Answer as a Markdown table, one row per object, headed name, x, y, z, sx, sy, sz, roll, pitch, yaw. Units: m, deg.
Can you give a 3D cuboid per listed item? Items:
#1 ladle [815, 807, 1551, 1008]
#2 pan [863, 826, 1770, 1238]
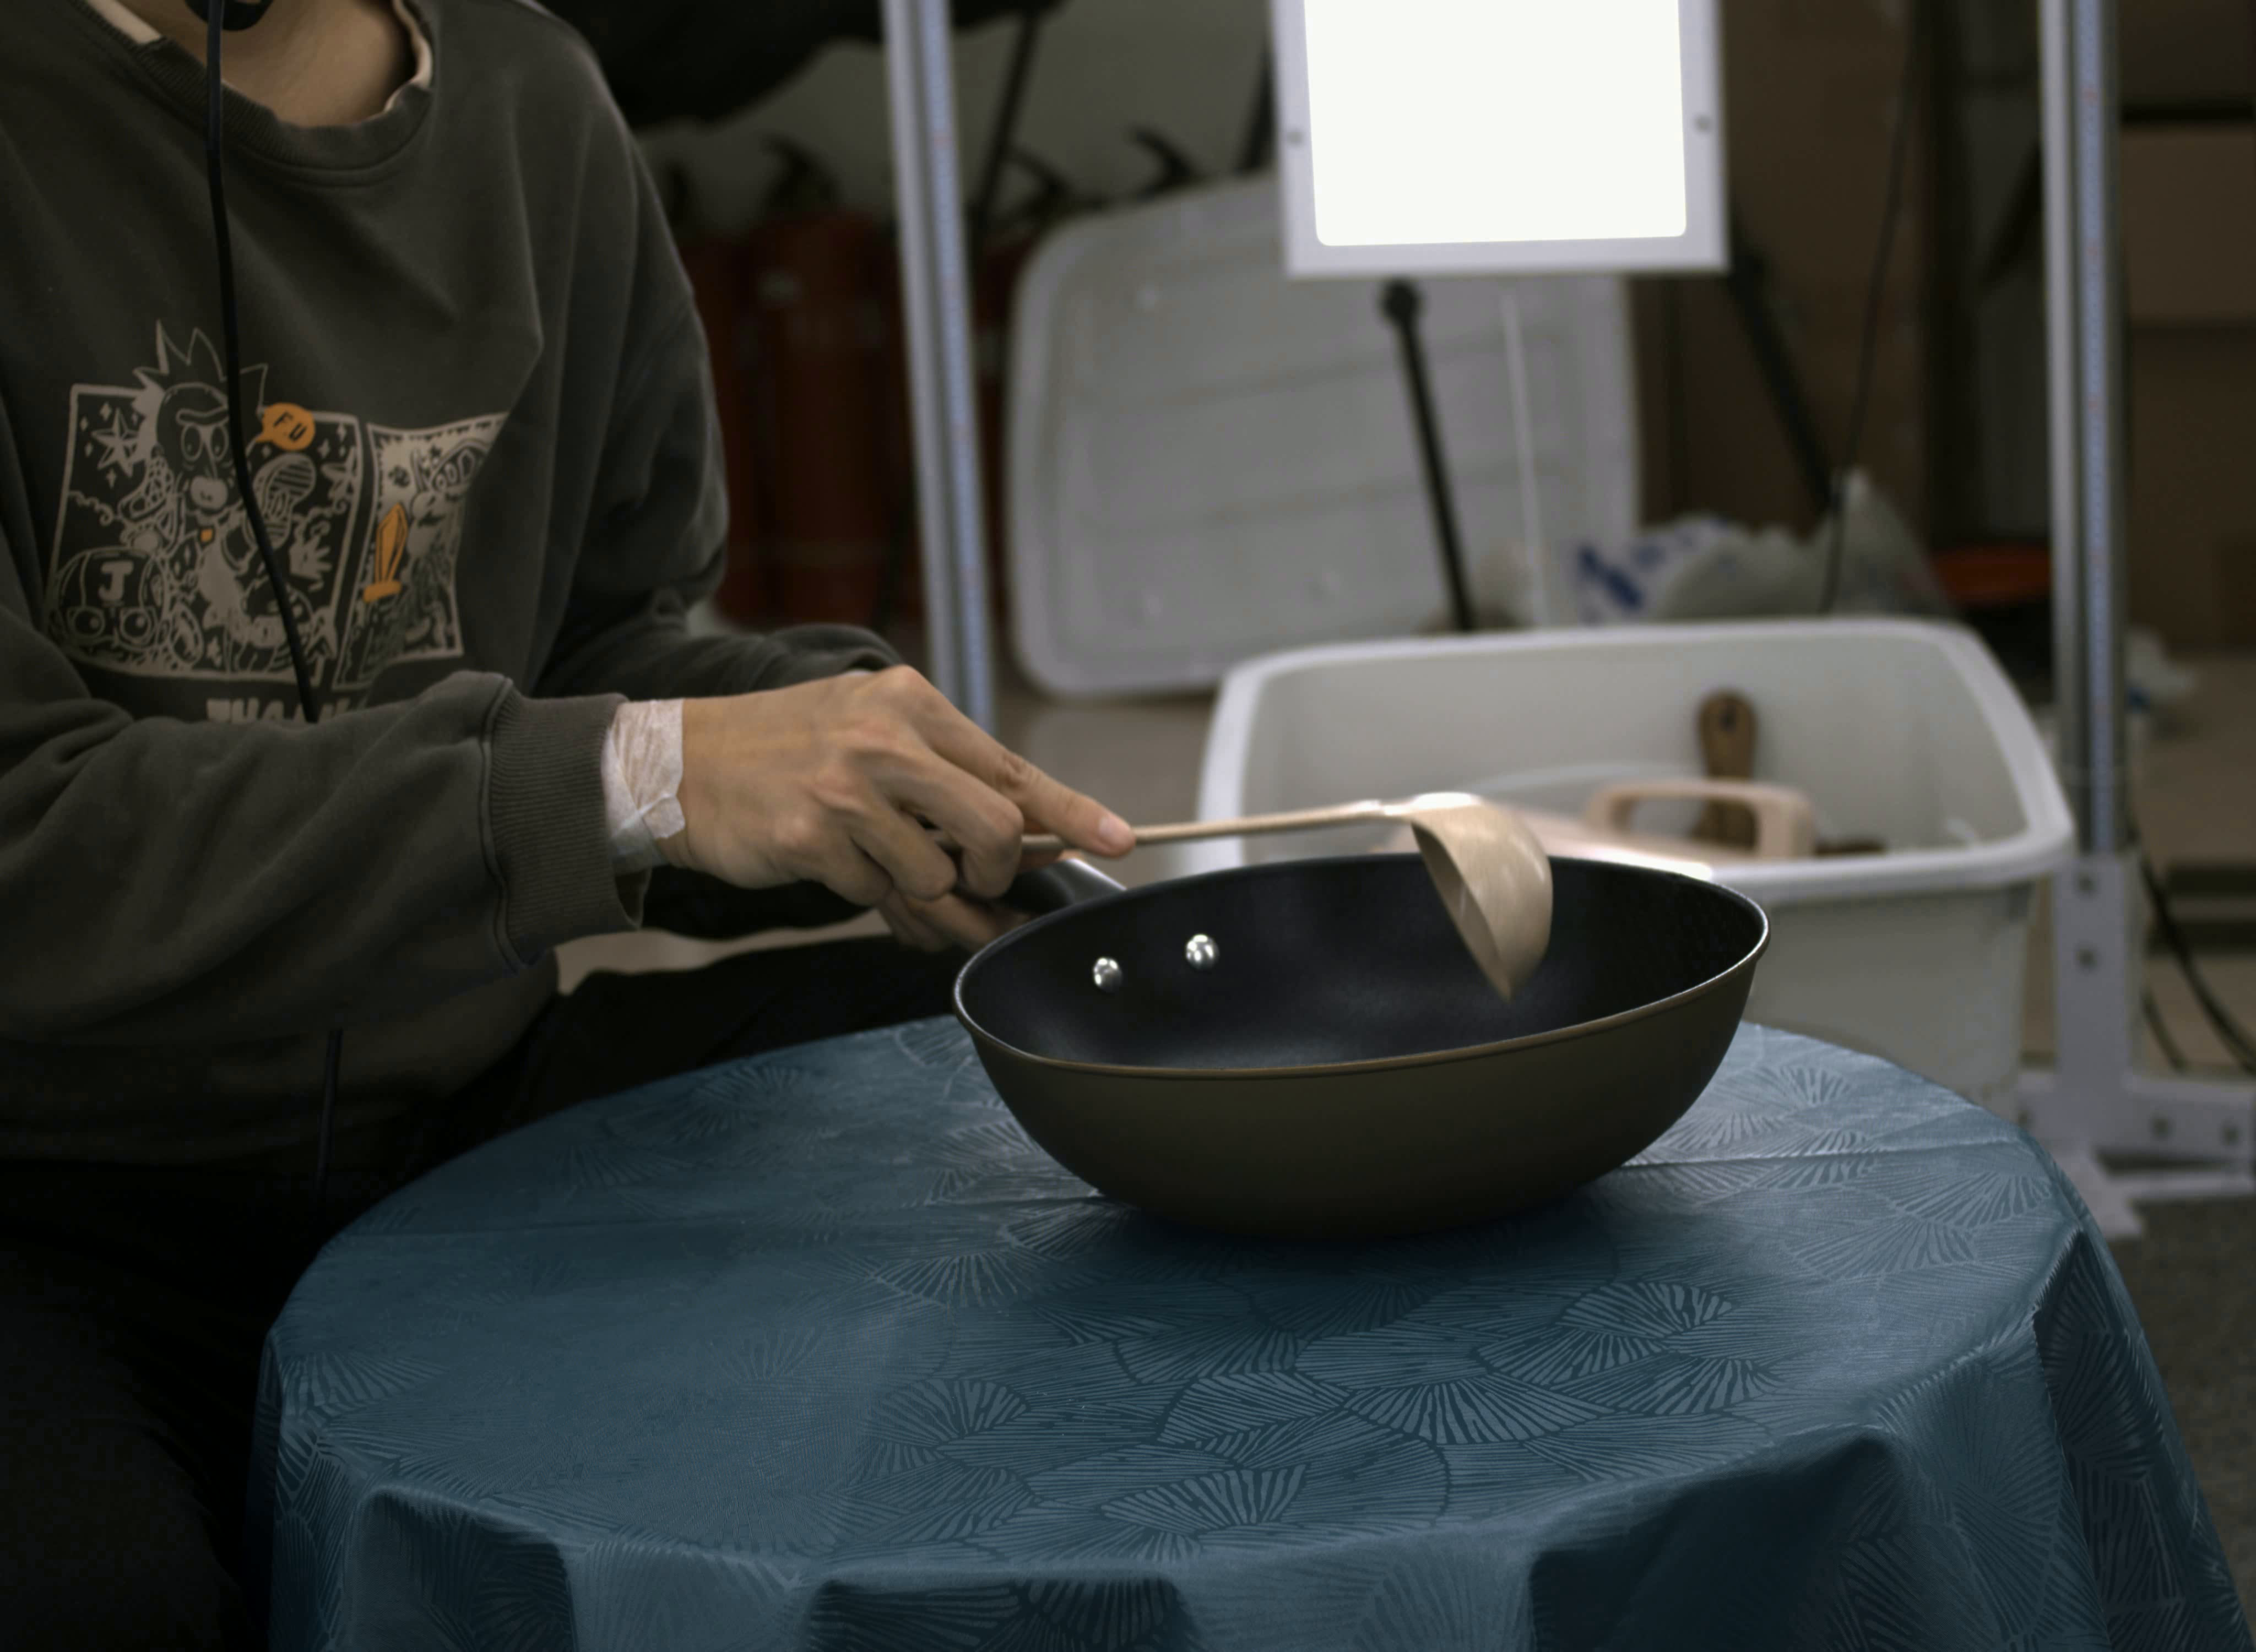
| name | x | y | z | sx | sy | sz | roll | pitch | yaw |
| --- | --- | --- | --- | --- | --- | --- | --- | --- | --- |
| ladle | 0.019 | 0.031 | 1.893 | 0.252 | 0.073 | 0.072 | -1 | 10 | -5 |
| pan | 0.030 | 0.068 | 1.953 | 0.281 | 0.087 | 0.472 | -14 | 14 | -31 |
